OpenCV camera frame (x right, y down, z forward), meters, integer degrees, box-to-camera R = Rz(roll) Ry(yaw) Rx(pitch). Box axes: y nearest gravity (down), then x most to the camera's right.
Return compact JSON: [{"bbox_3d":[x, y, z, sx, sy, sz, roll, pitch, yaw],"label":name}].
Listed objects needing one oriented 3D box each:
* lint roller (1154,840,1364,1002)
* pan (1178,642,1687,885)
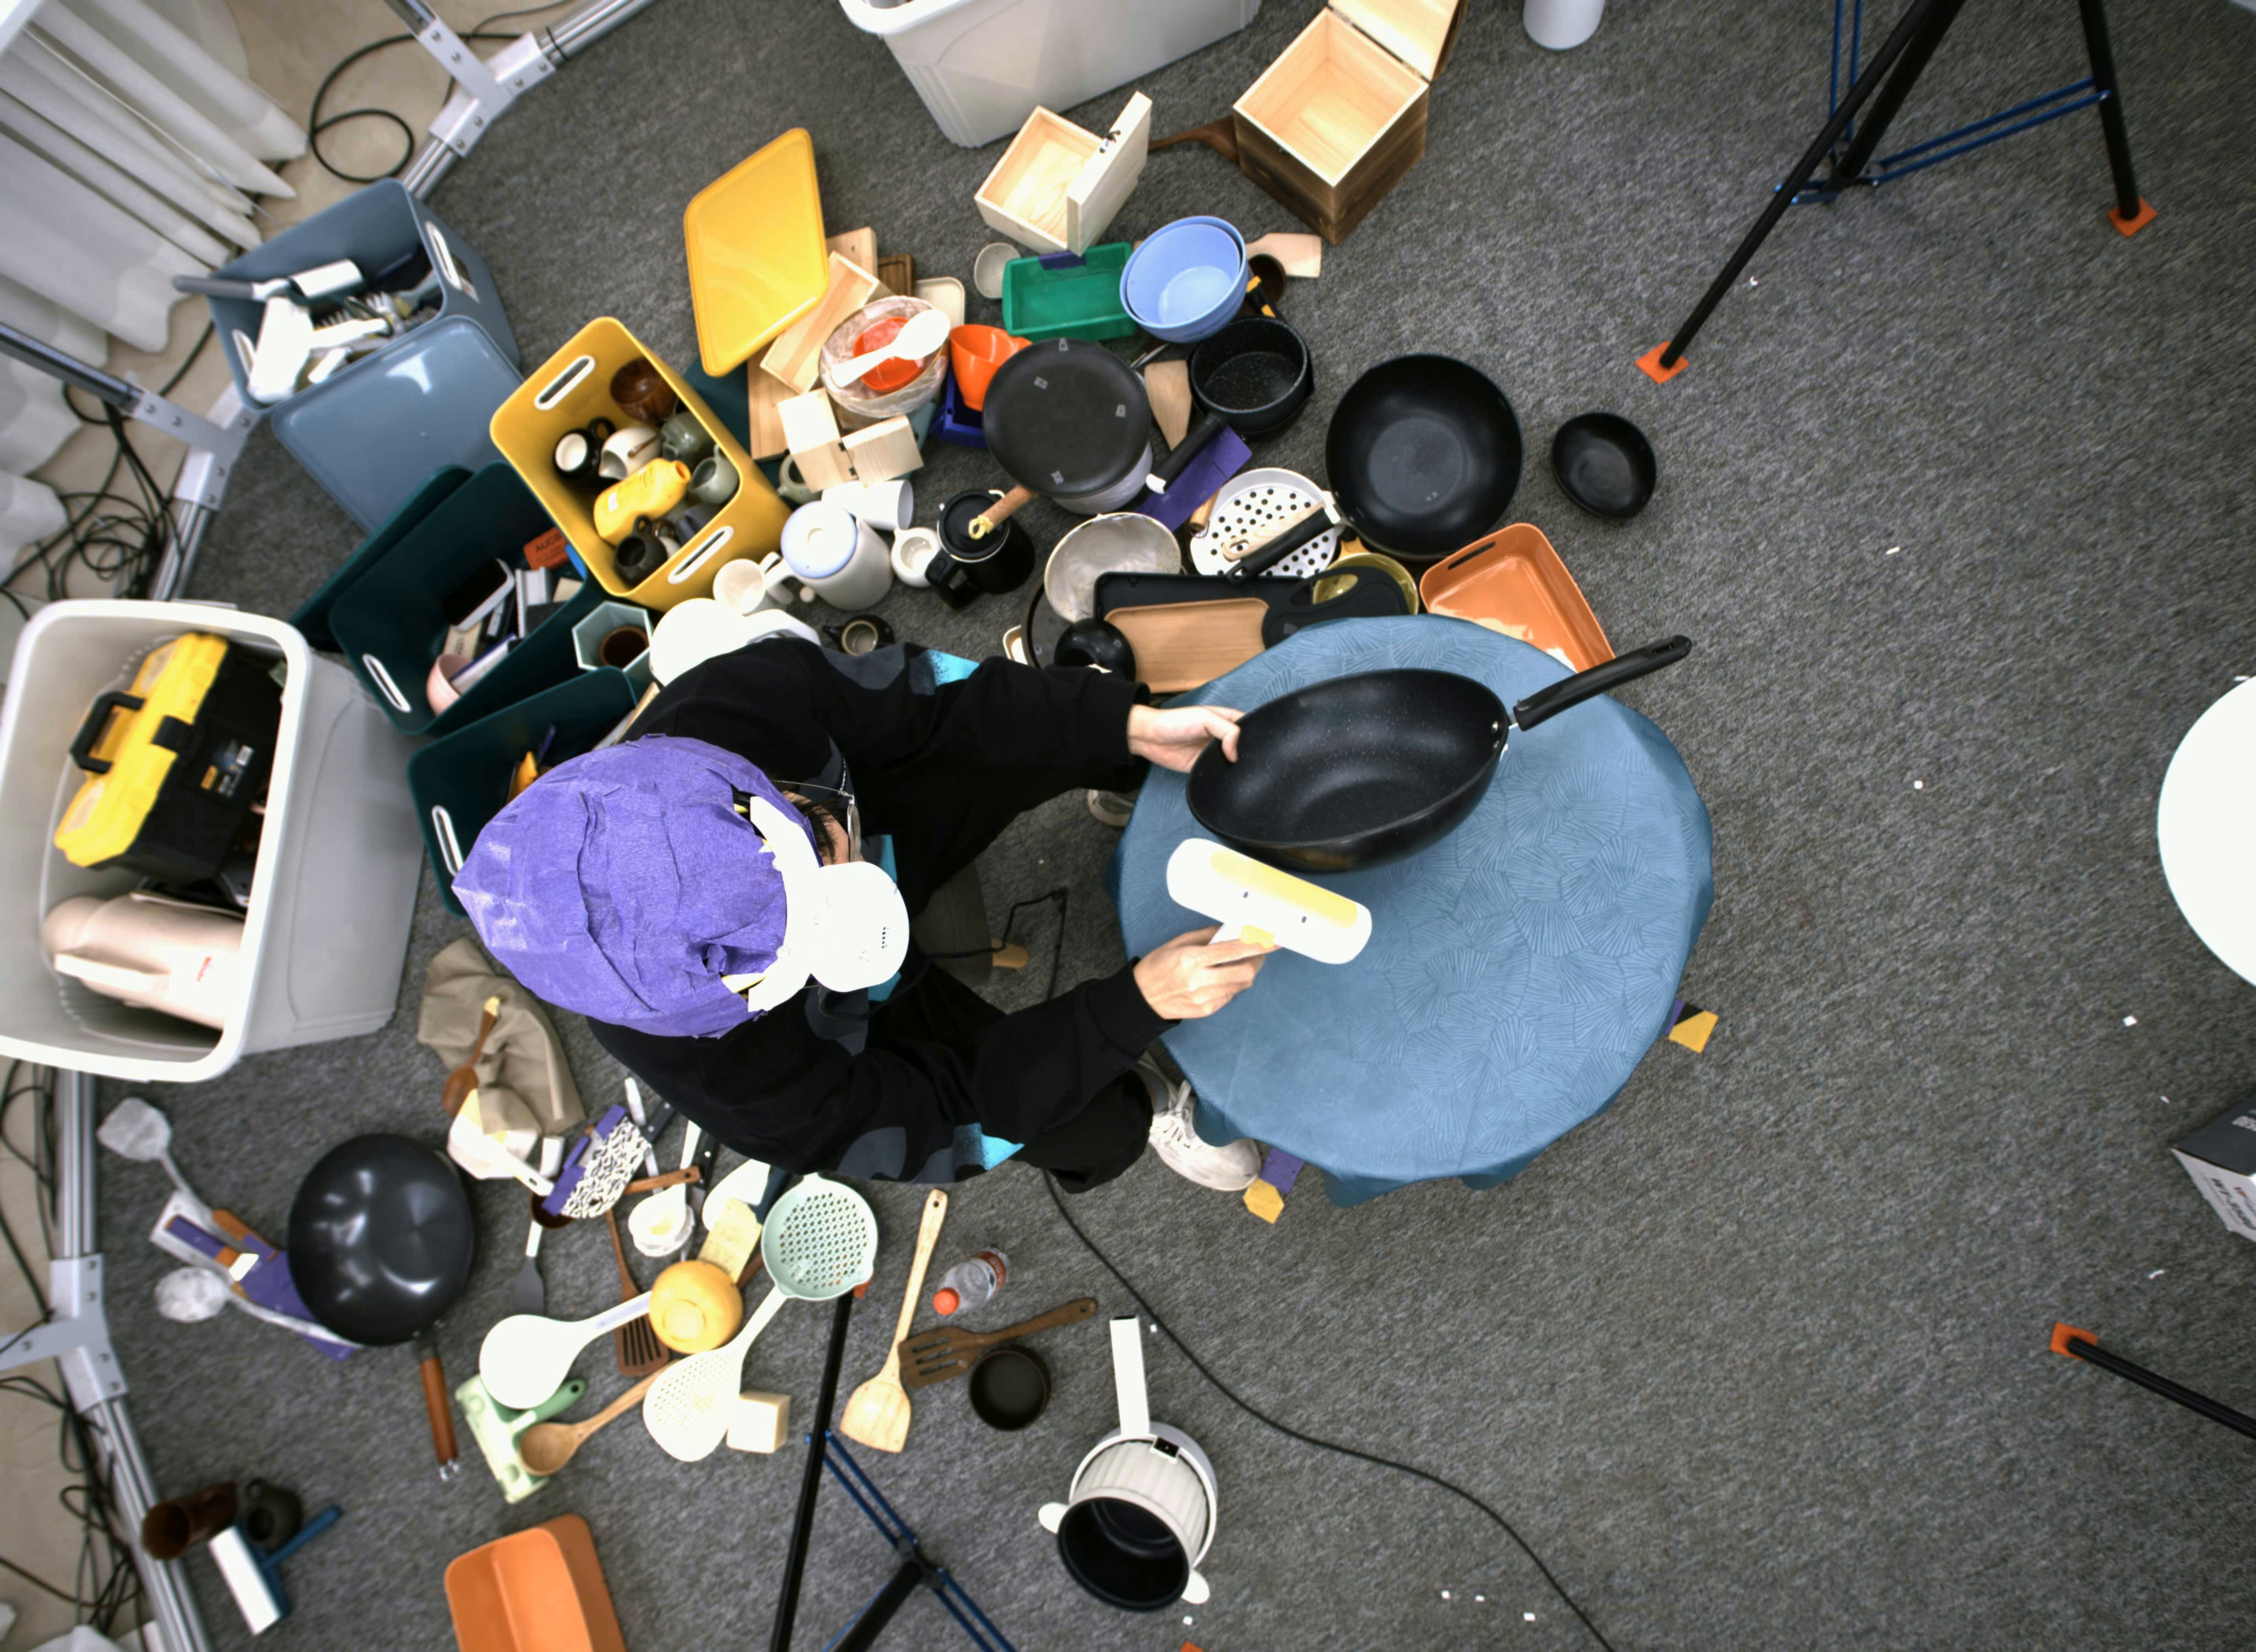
[{"bbox_3d":[0.101,0.100,1.283,0.193,0.197,0.072,17,58,-7],"label":"lint roller"},{"bbox_3d":[0.283,-0.065,1.286,0.480,0.302,0.114,-14,123,15],"label":"pan"}]
